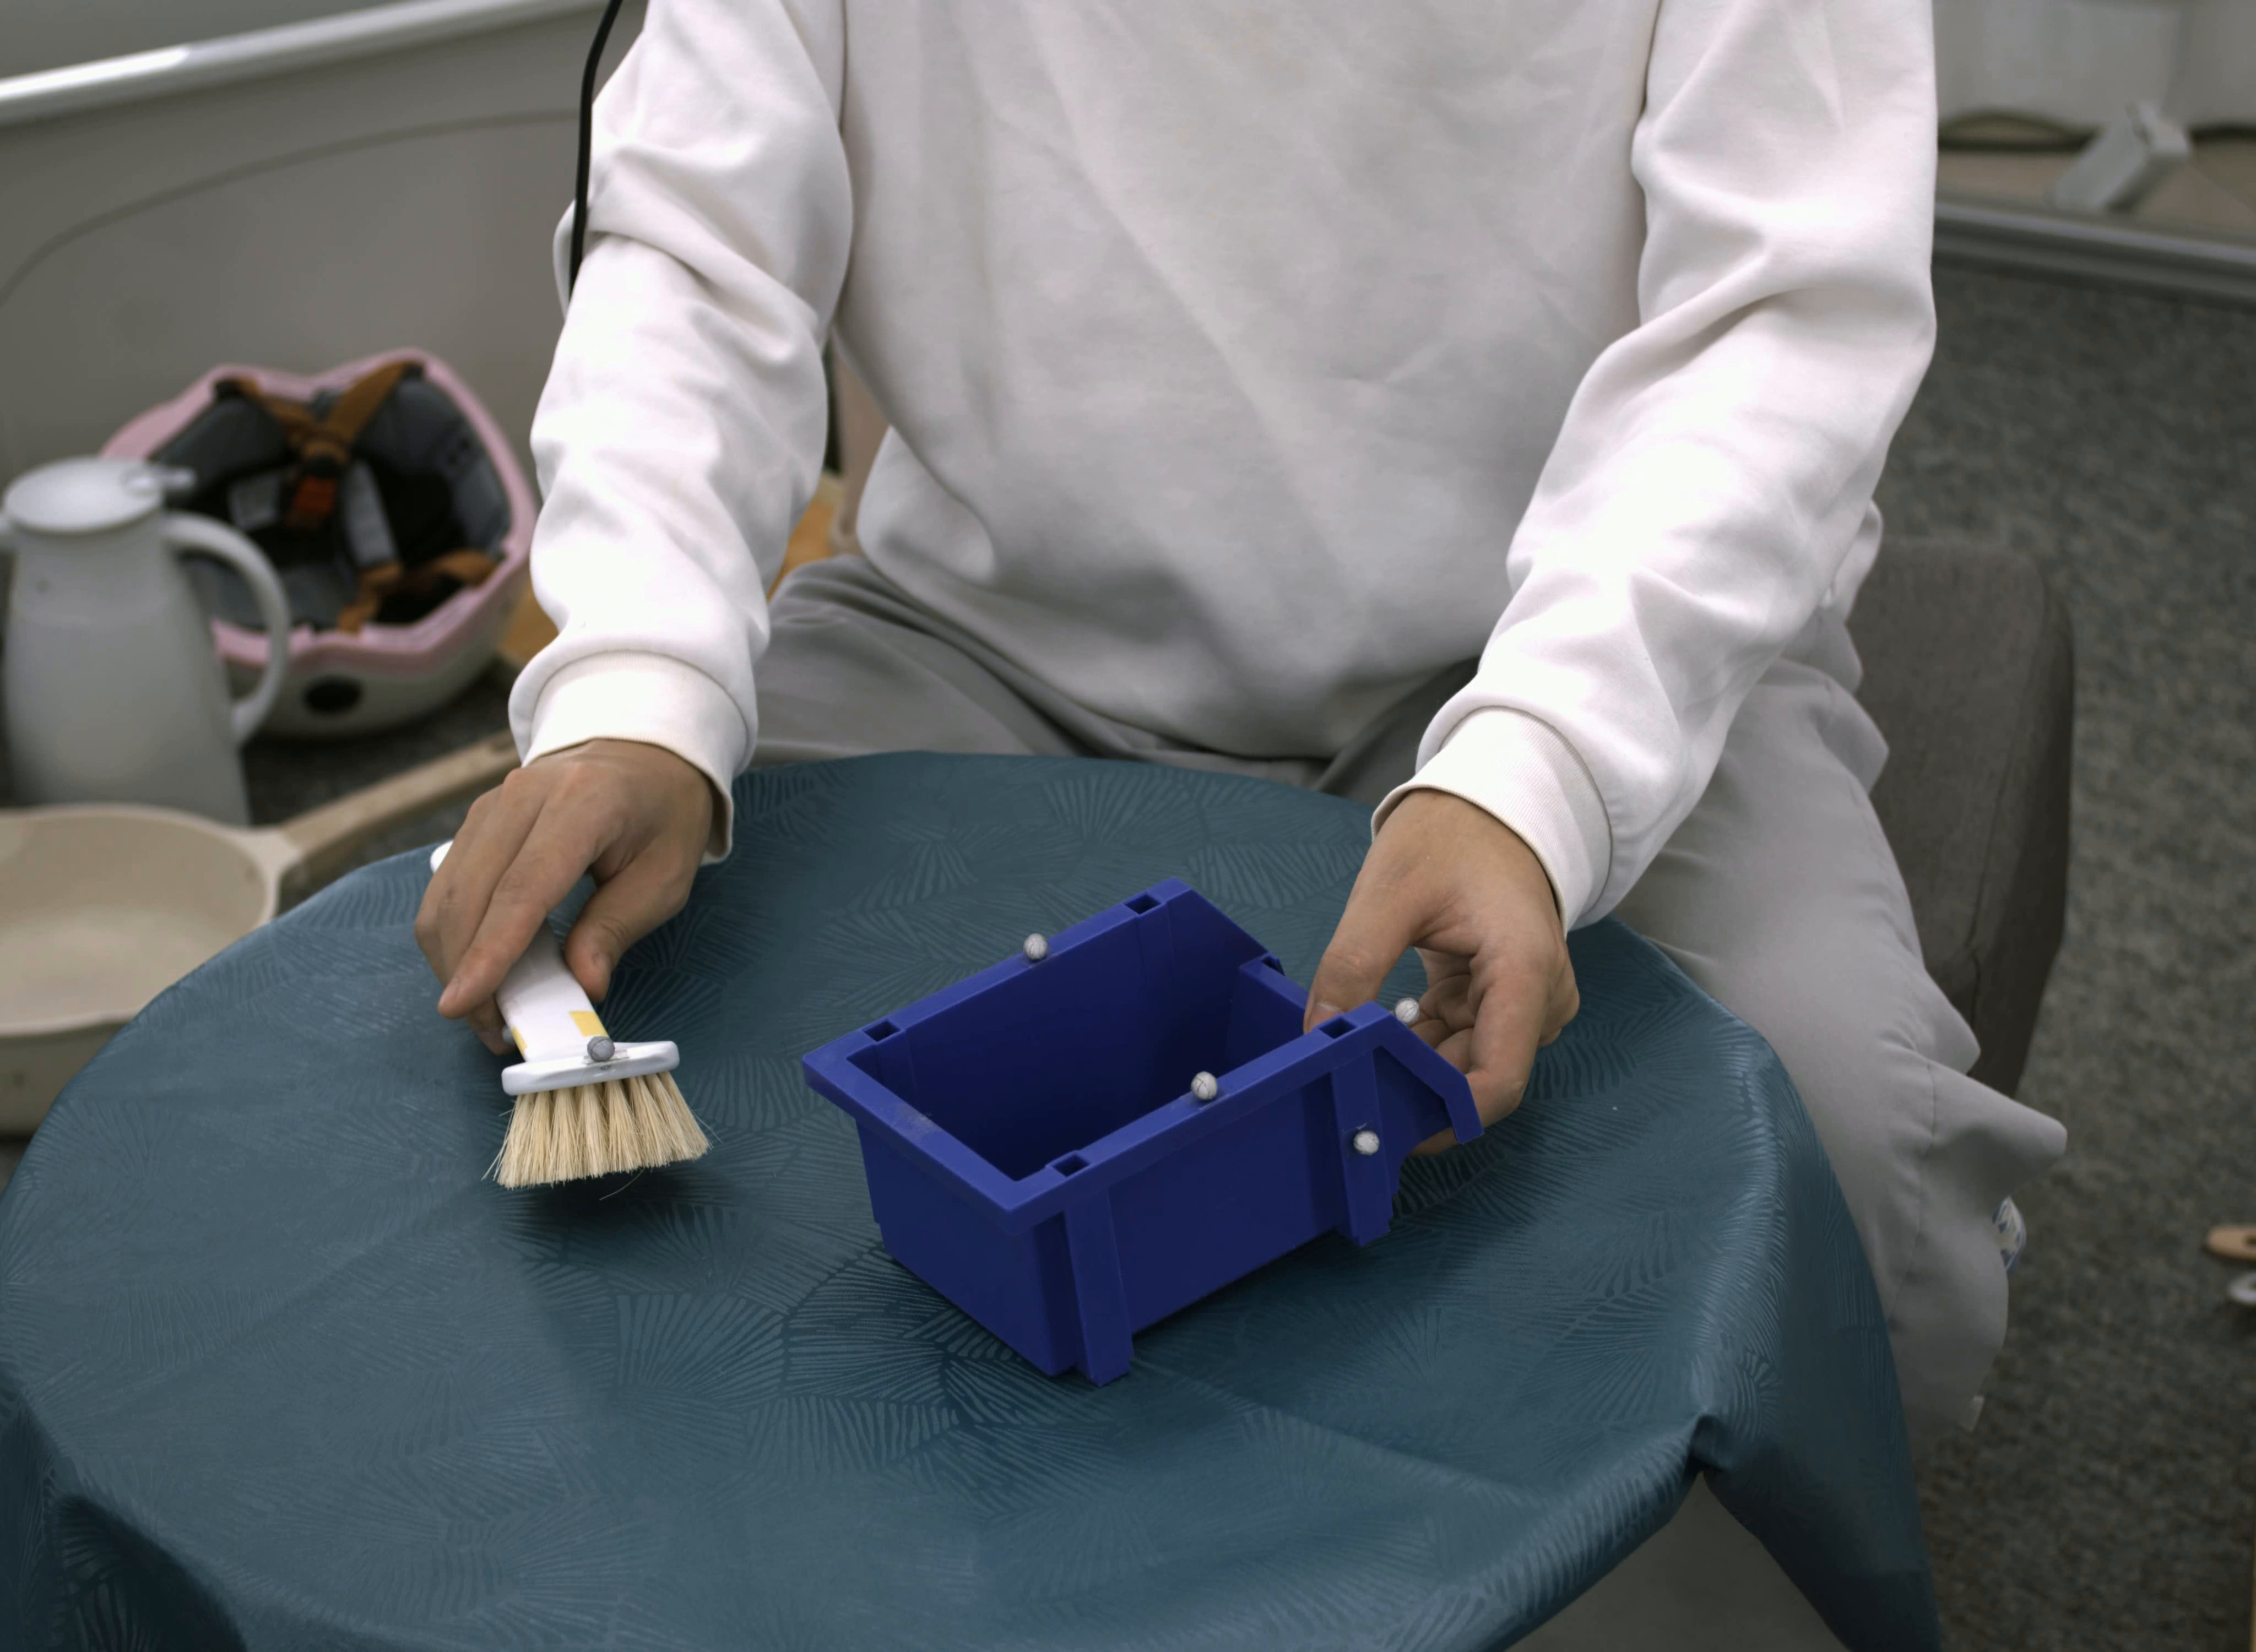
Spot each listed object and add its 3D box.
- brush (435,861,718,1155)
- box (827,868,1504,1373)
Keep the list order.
[{"bbox_3d":[-0.201,0.067,1.956,0.068,0.056,0.267,0,12,-19],"label":"brush"},{"bbox_3d":[0.013,0.090,1.819,0.181,0.081,0.125,-27,35,-26],"label":"box"}]
